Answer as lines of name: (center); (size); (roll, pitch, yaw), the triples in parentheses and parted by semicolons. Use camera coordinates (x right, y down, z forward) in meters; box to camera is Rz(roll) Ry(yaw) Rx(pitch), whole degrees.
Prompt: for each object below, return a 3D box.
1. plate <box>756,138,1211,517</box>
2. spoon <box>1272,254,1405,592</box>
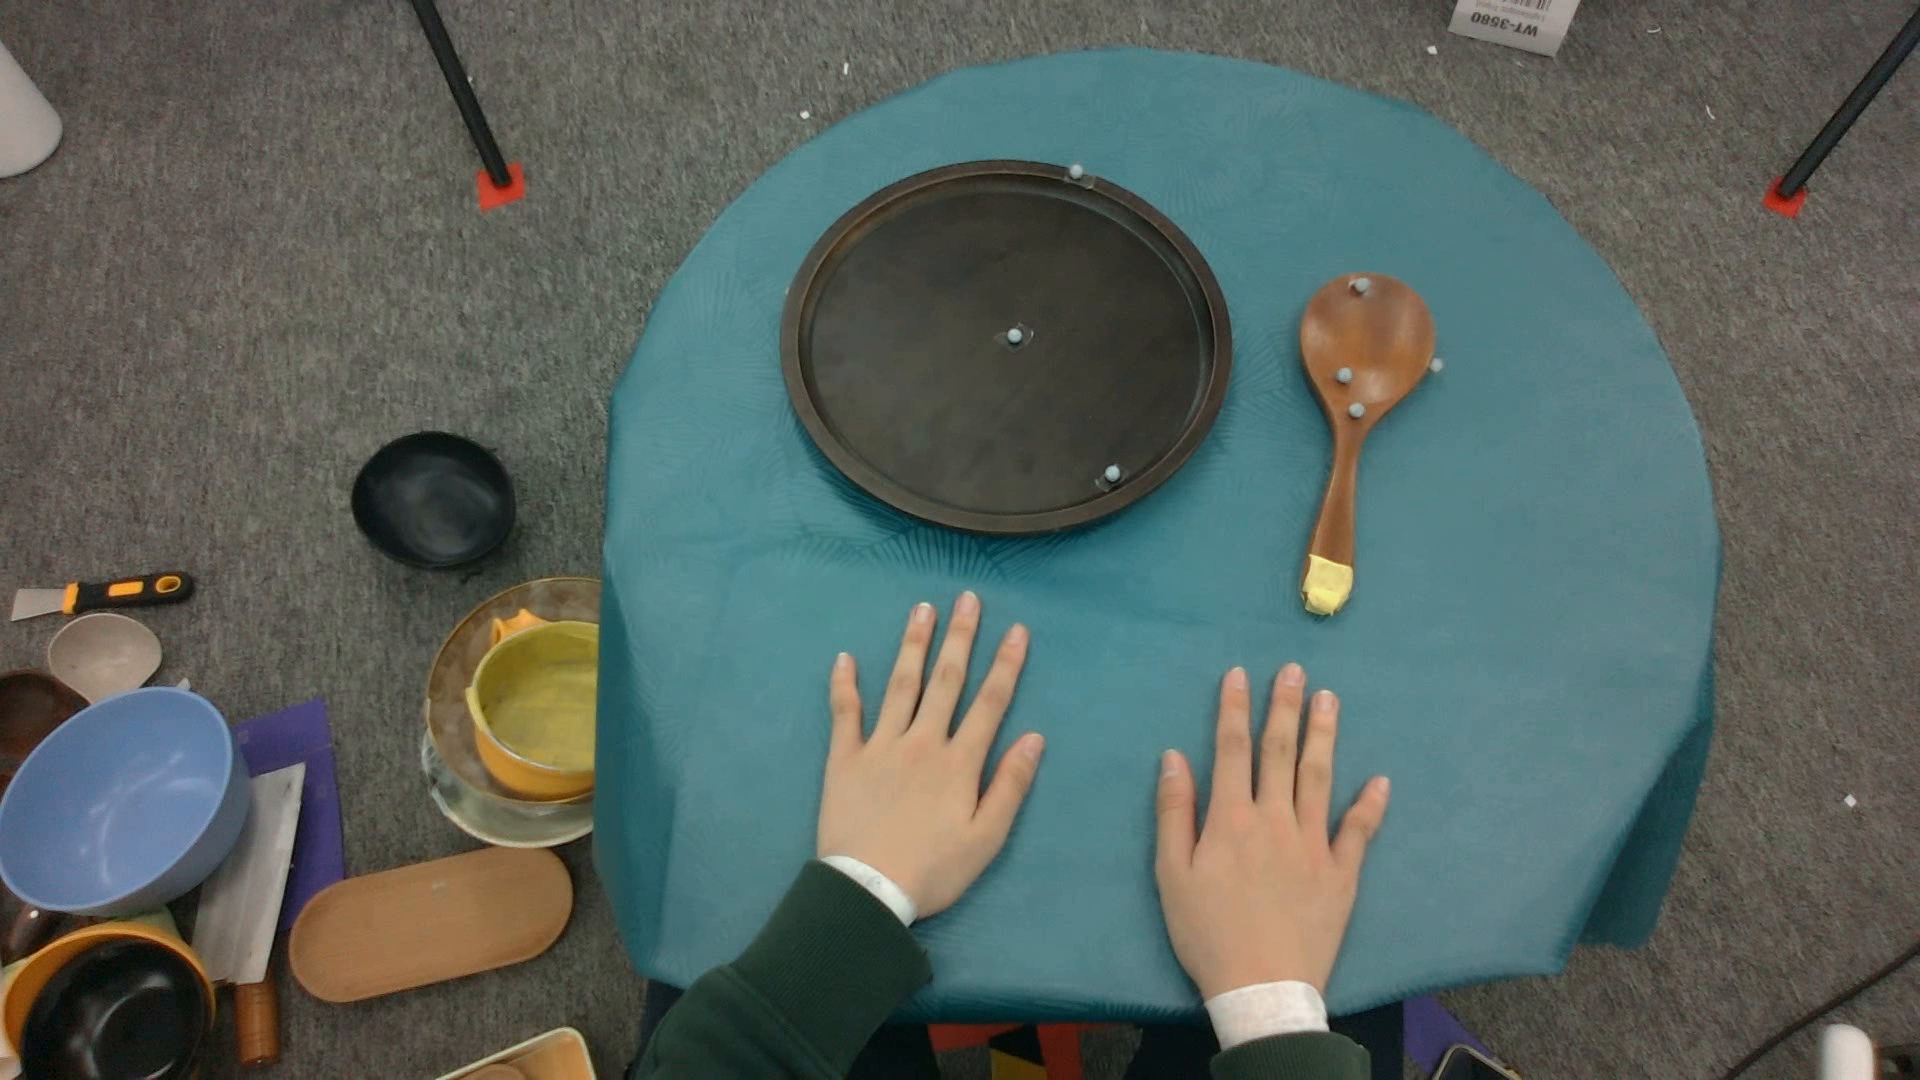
plate: (0.013, -0.123, 0.773); (0.255, 0.029, 0.256); (0, 62, 0)
spoon: (0.199, -0.068, 0.751); (0.075, 0.017, 0.217); (12, 63, 5)
